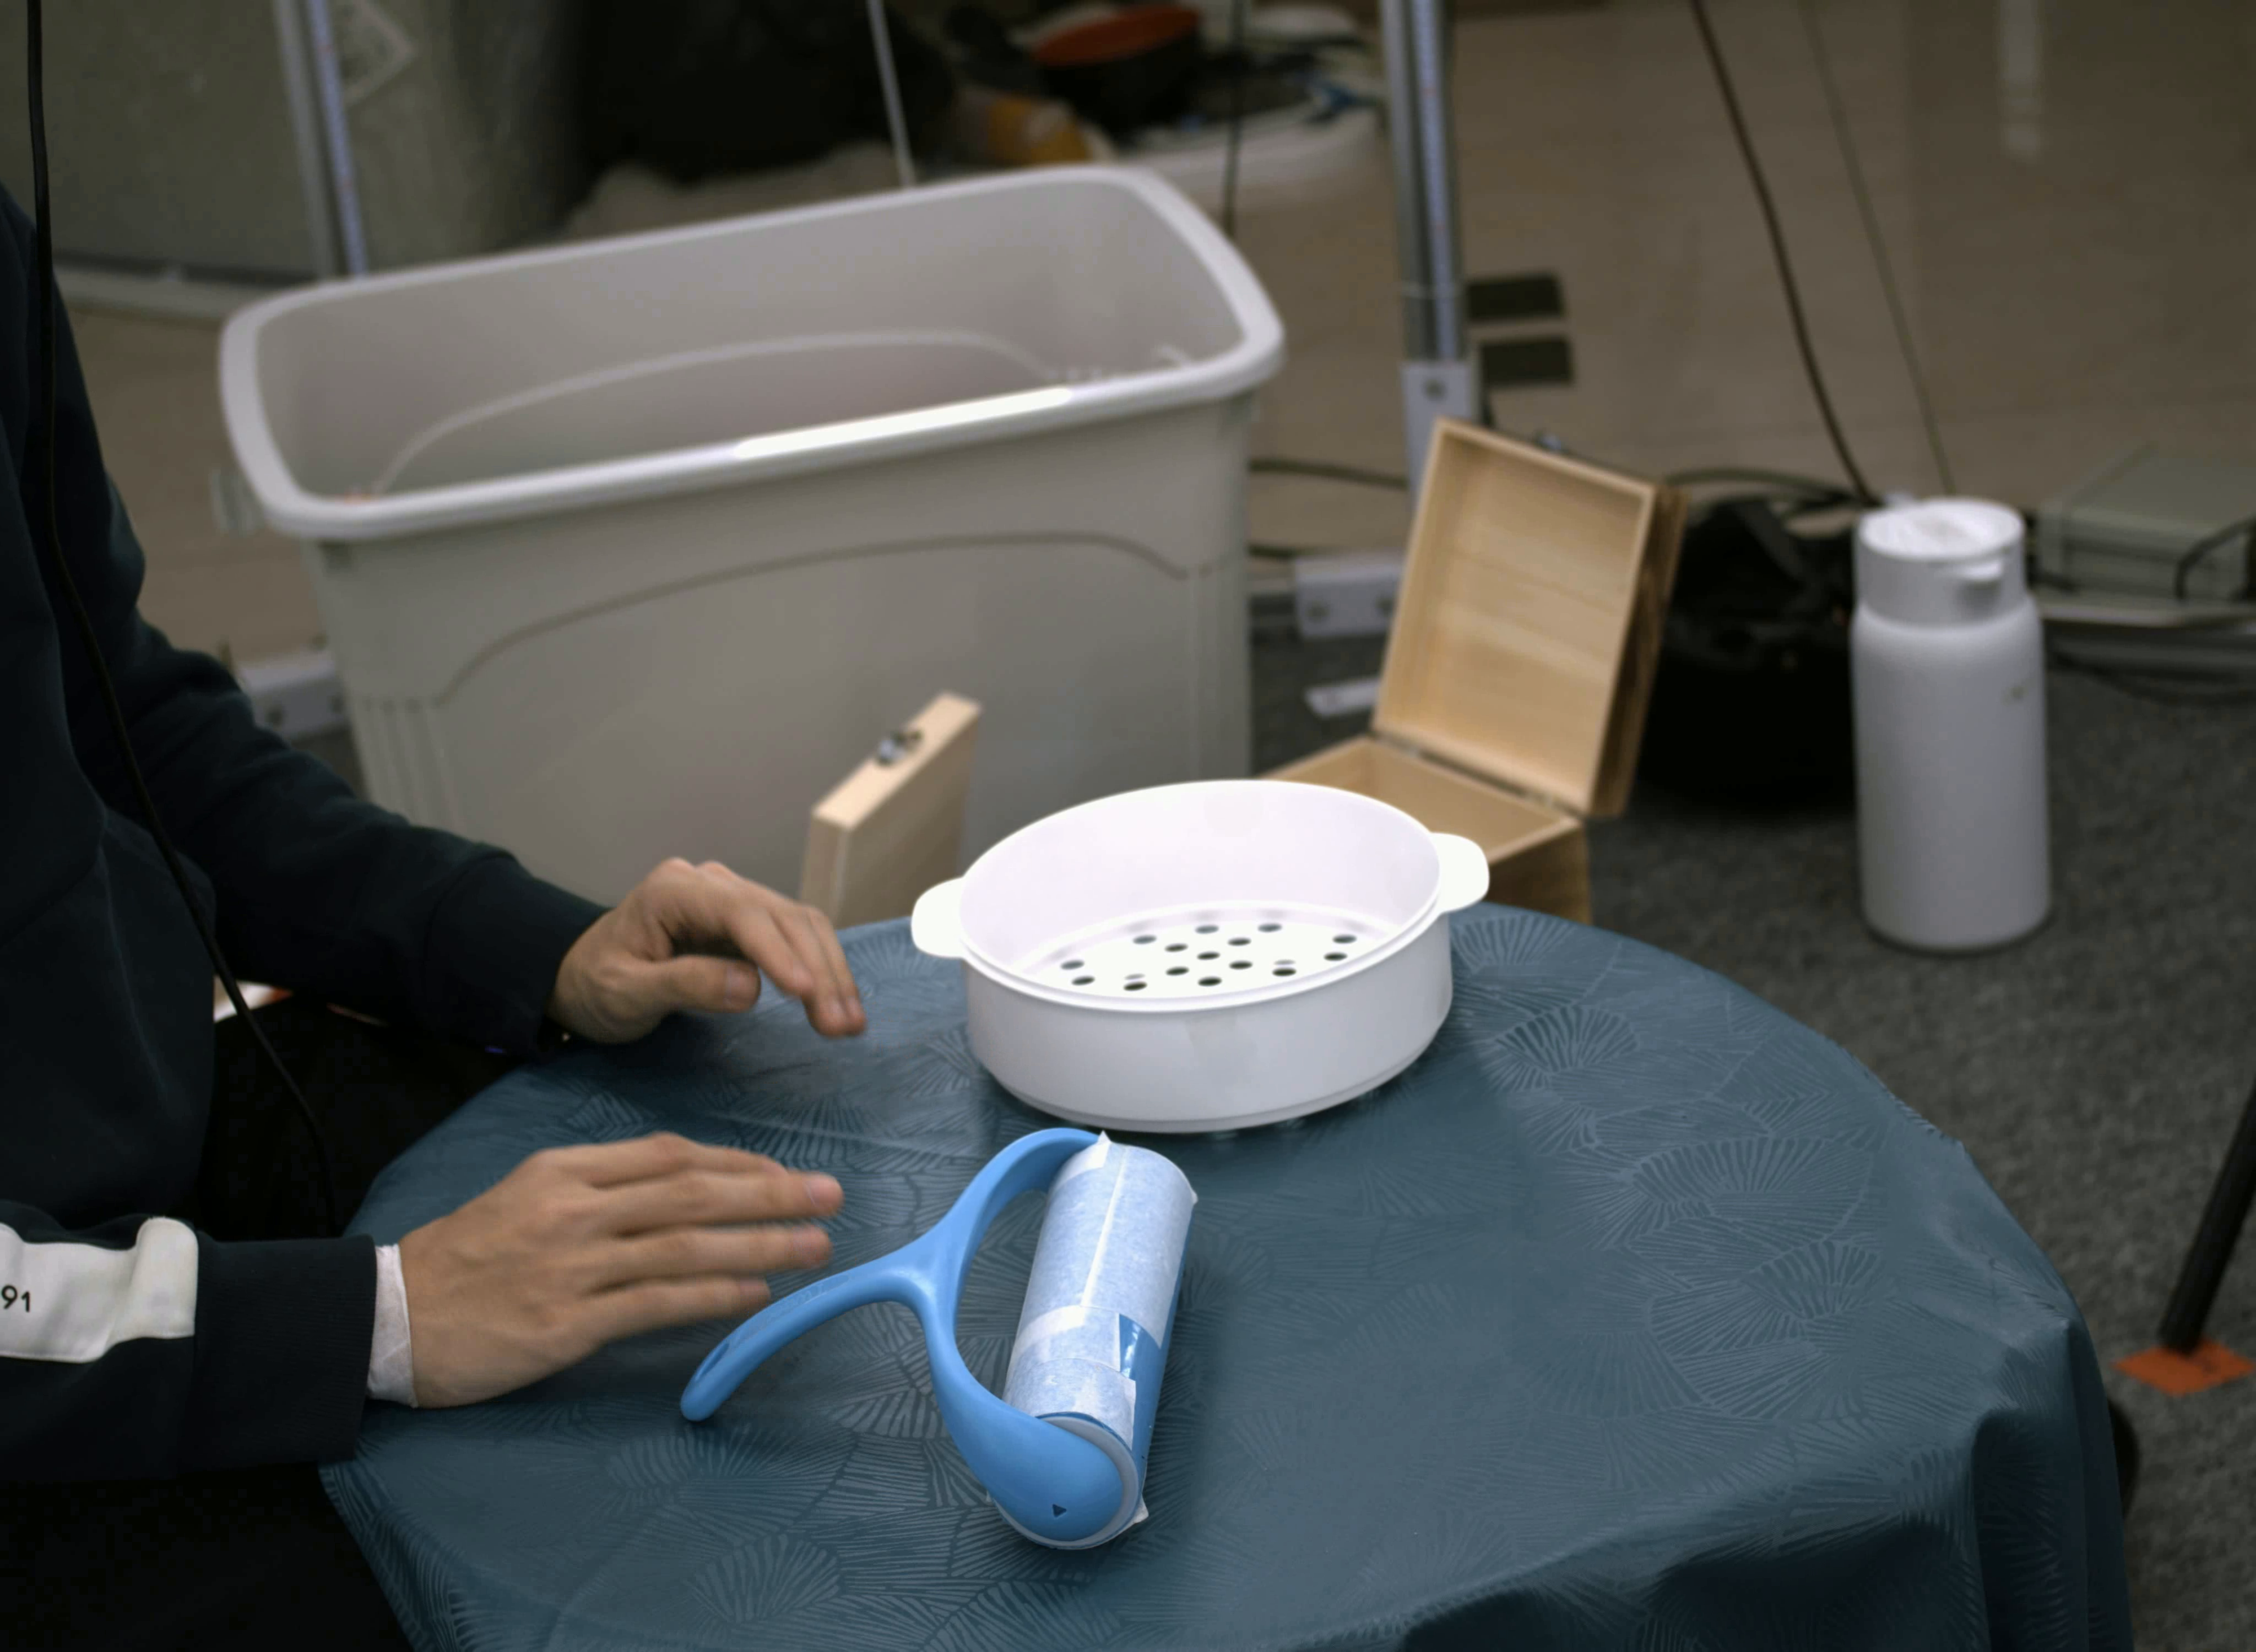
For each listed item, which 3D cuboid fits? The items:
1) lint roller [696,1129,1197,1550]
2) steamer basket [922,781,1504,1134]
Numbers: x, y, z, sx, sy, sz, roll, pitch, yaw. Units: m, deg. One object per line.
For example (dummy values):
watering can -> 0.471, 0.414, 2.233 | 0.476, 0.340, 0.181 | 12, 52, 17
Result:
lint roller -> -0.067, 0.183, 2.001 | 0.180, 0.069, 0.225 | -4, 27, 4
steamer basket -> 0.036, 0.052, 2.239 | 0.230, 0.070, 0.199 | -6, 24, 3
